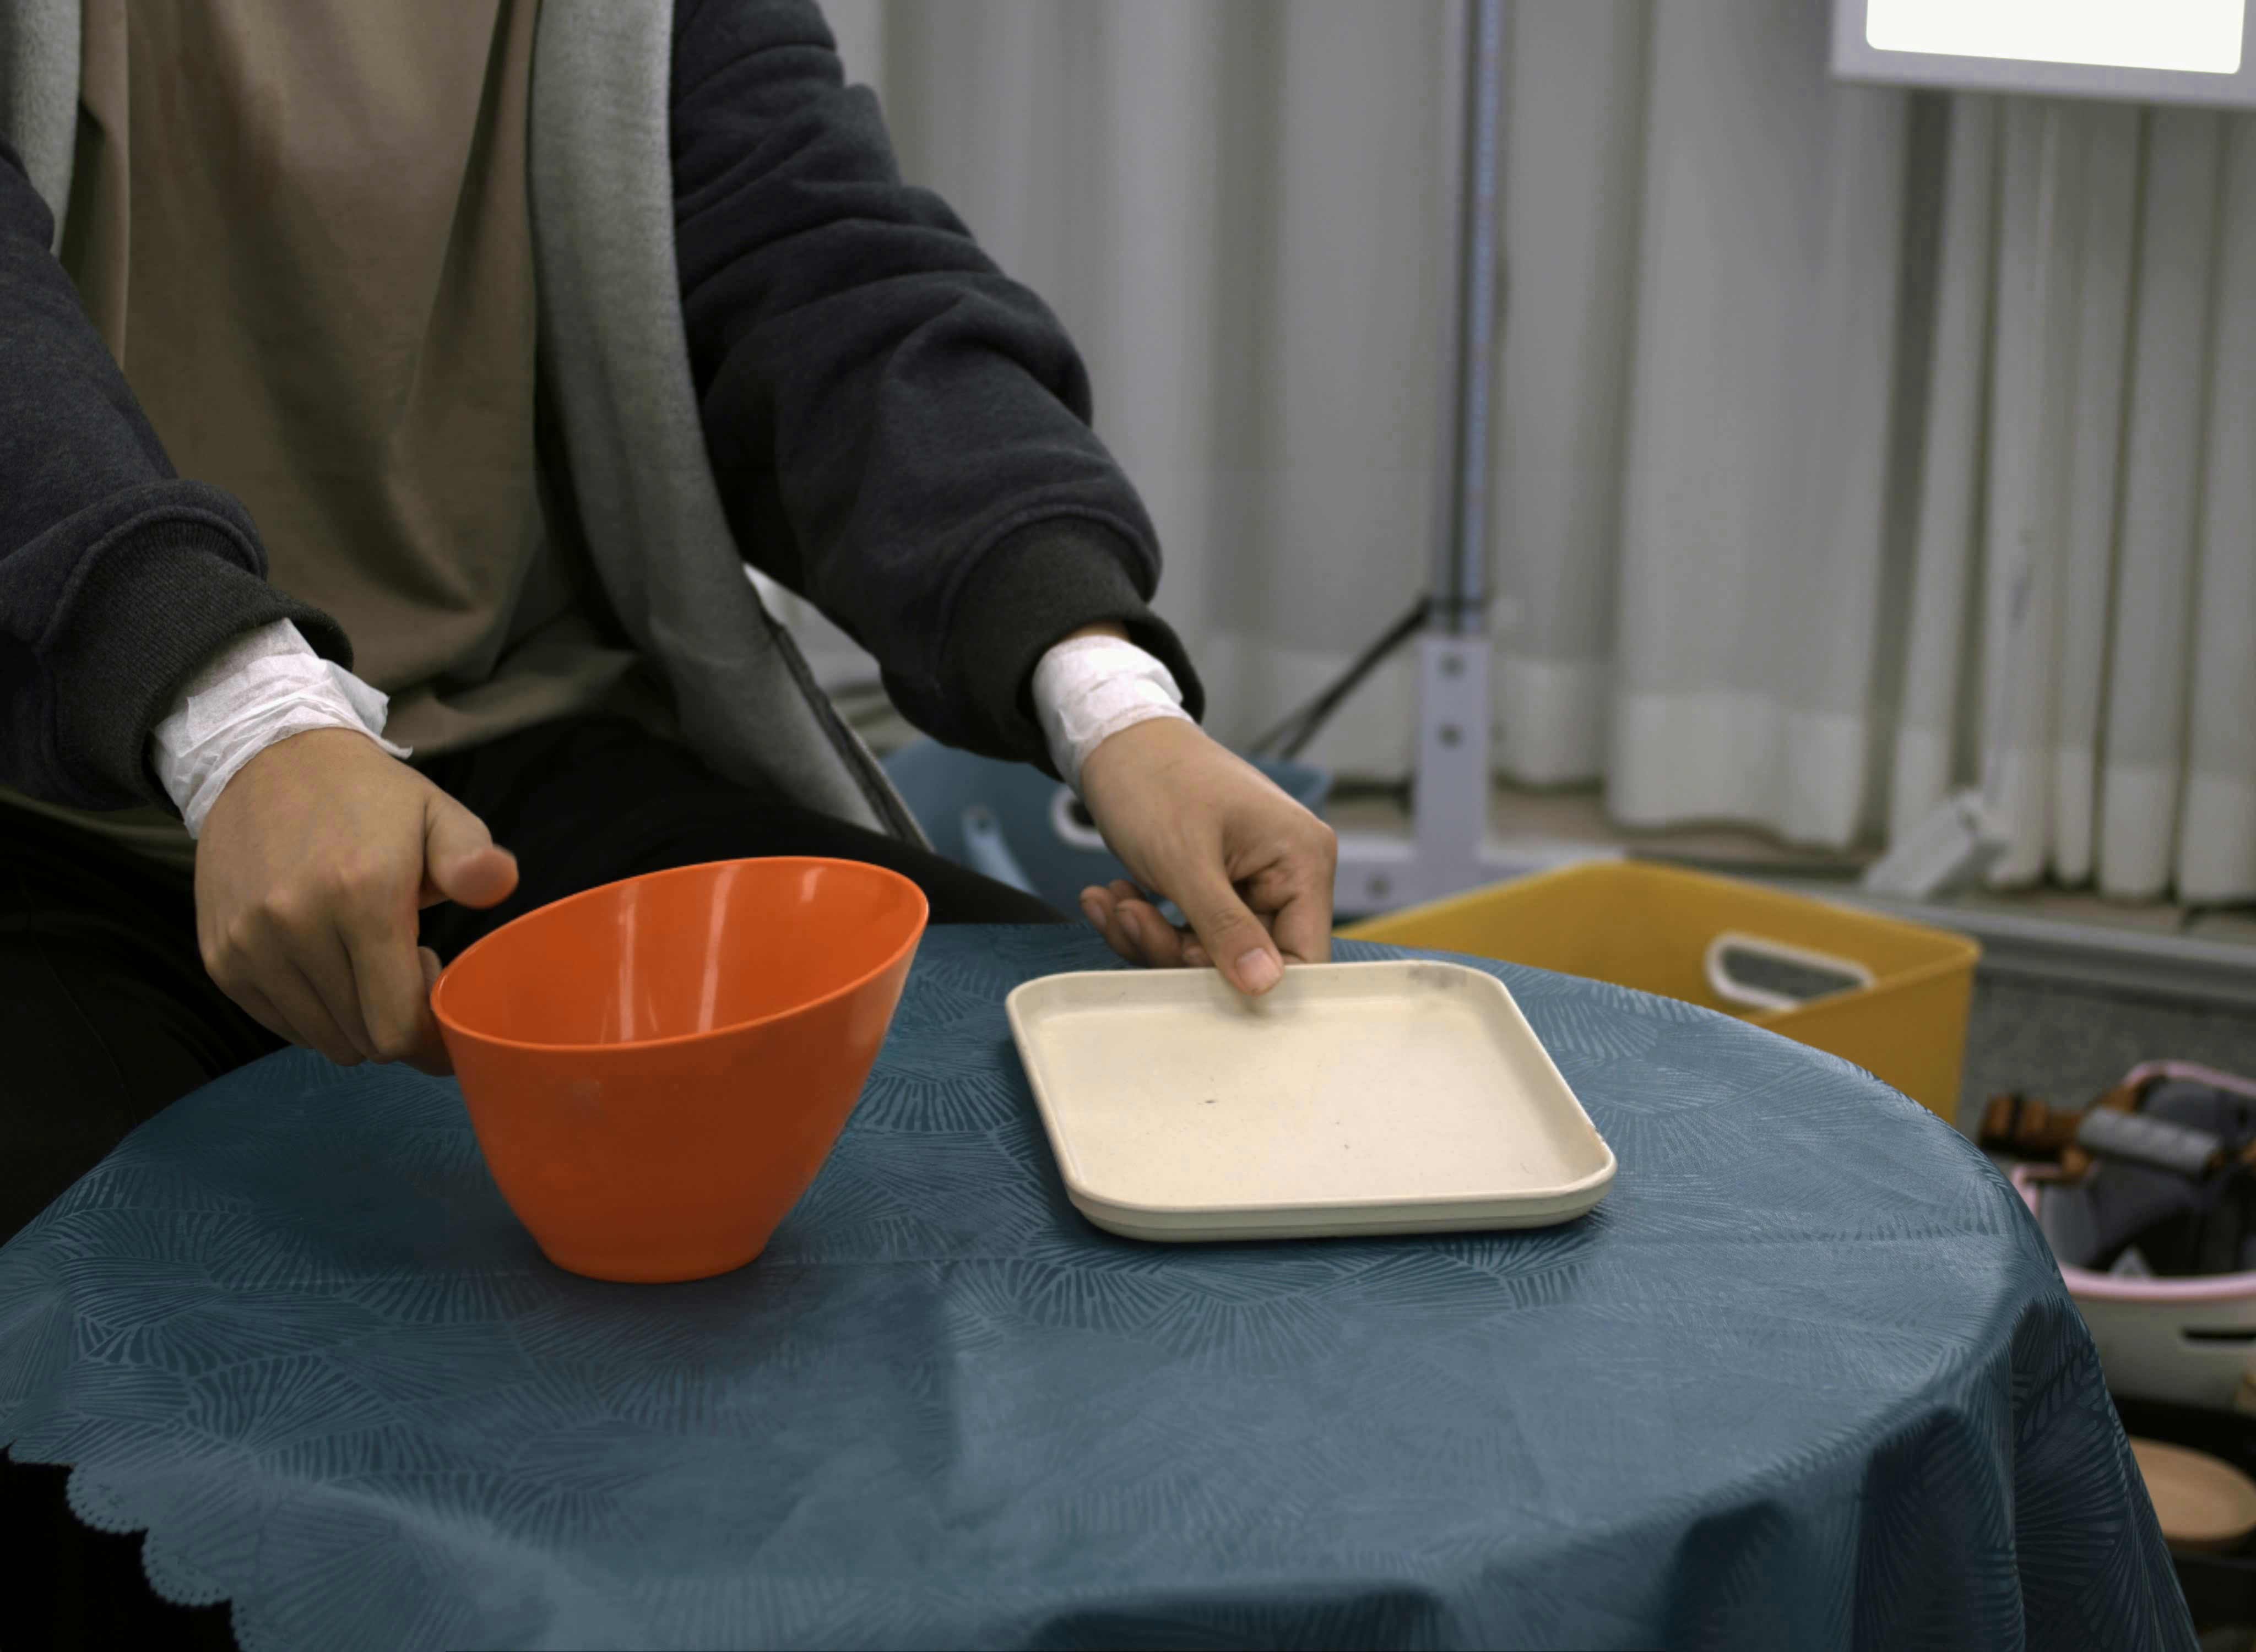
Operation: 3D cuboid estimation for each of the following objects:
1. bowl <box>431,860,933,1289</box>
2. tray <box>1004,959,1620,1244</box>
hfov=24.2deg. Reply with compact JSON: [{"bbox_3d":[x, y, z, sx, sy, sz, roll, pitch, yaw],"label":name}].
[{"bbox_3d":[-0.131,0.076,1.559,0.147,0.105,0.147,2,17,0],"label":"bowl"},{"bbox_3d":[0.054,0.087,1.683,0.171,0.017,0.238,-2,16,-7],"label":"tray"}]
